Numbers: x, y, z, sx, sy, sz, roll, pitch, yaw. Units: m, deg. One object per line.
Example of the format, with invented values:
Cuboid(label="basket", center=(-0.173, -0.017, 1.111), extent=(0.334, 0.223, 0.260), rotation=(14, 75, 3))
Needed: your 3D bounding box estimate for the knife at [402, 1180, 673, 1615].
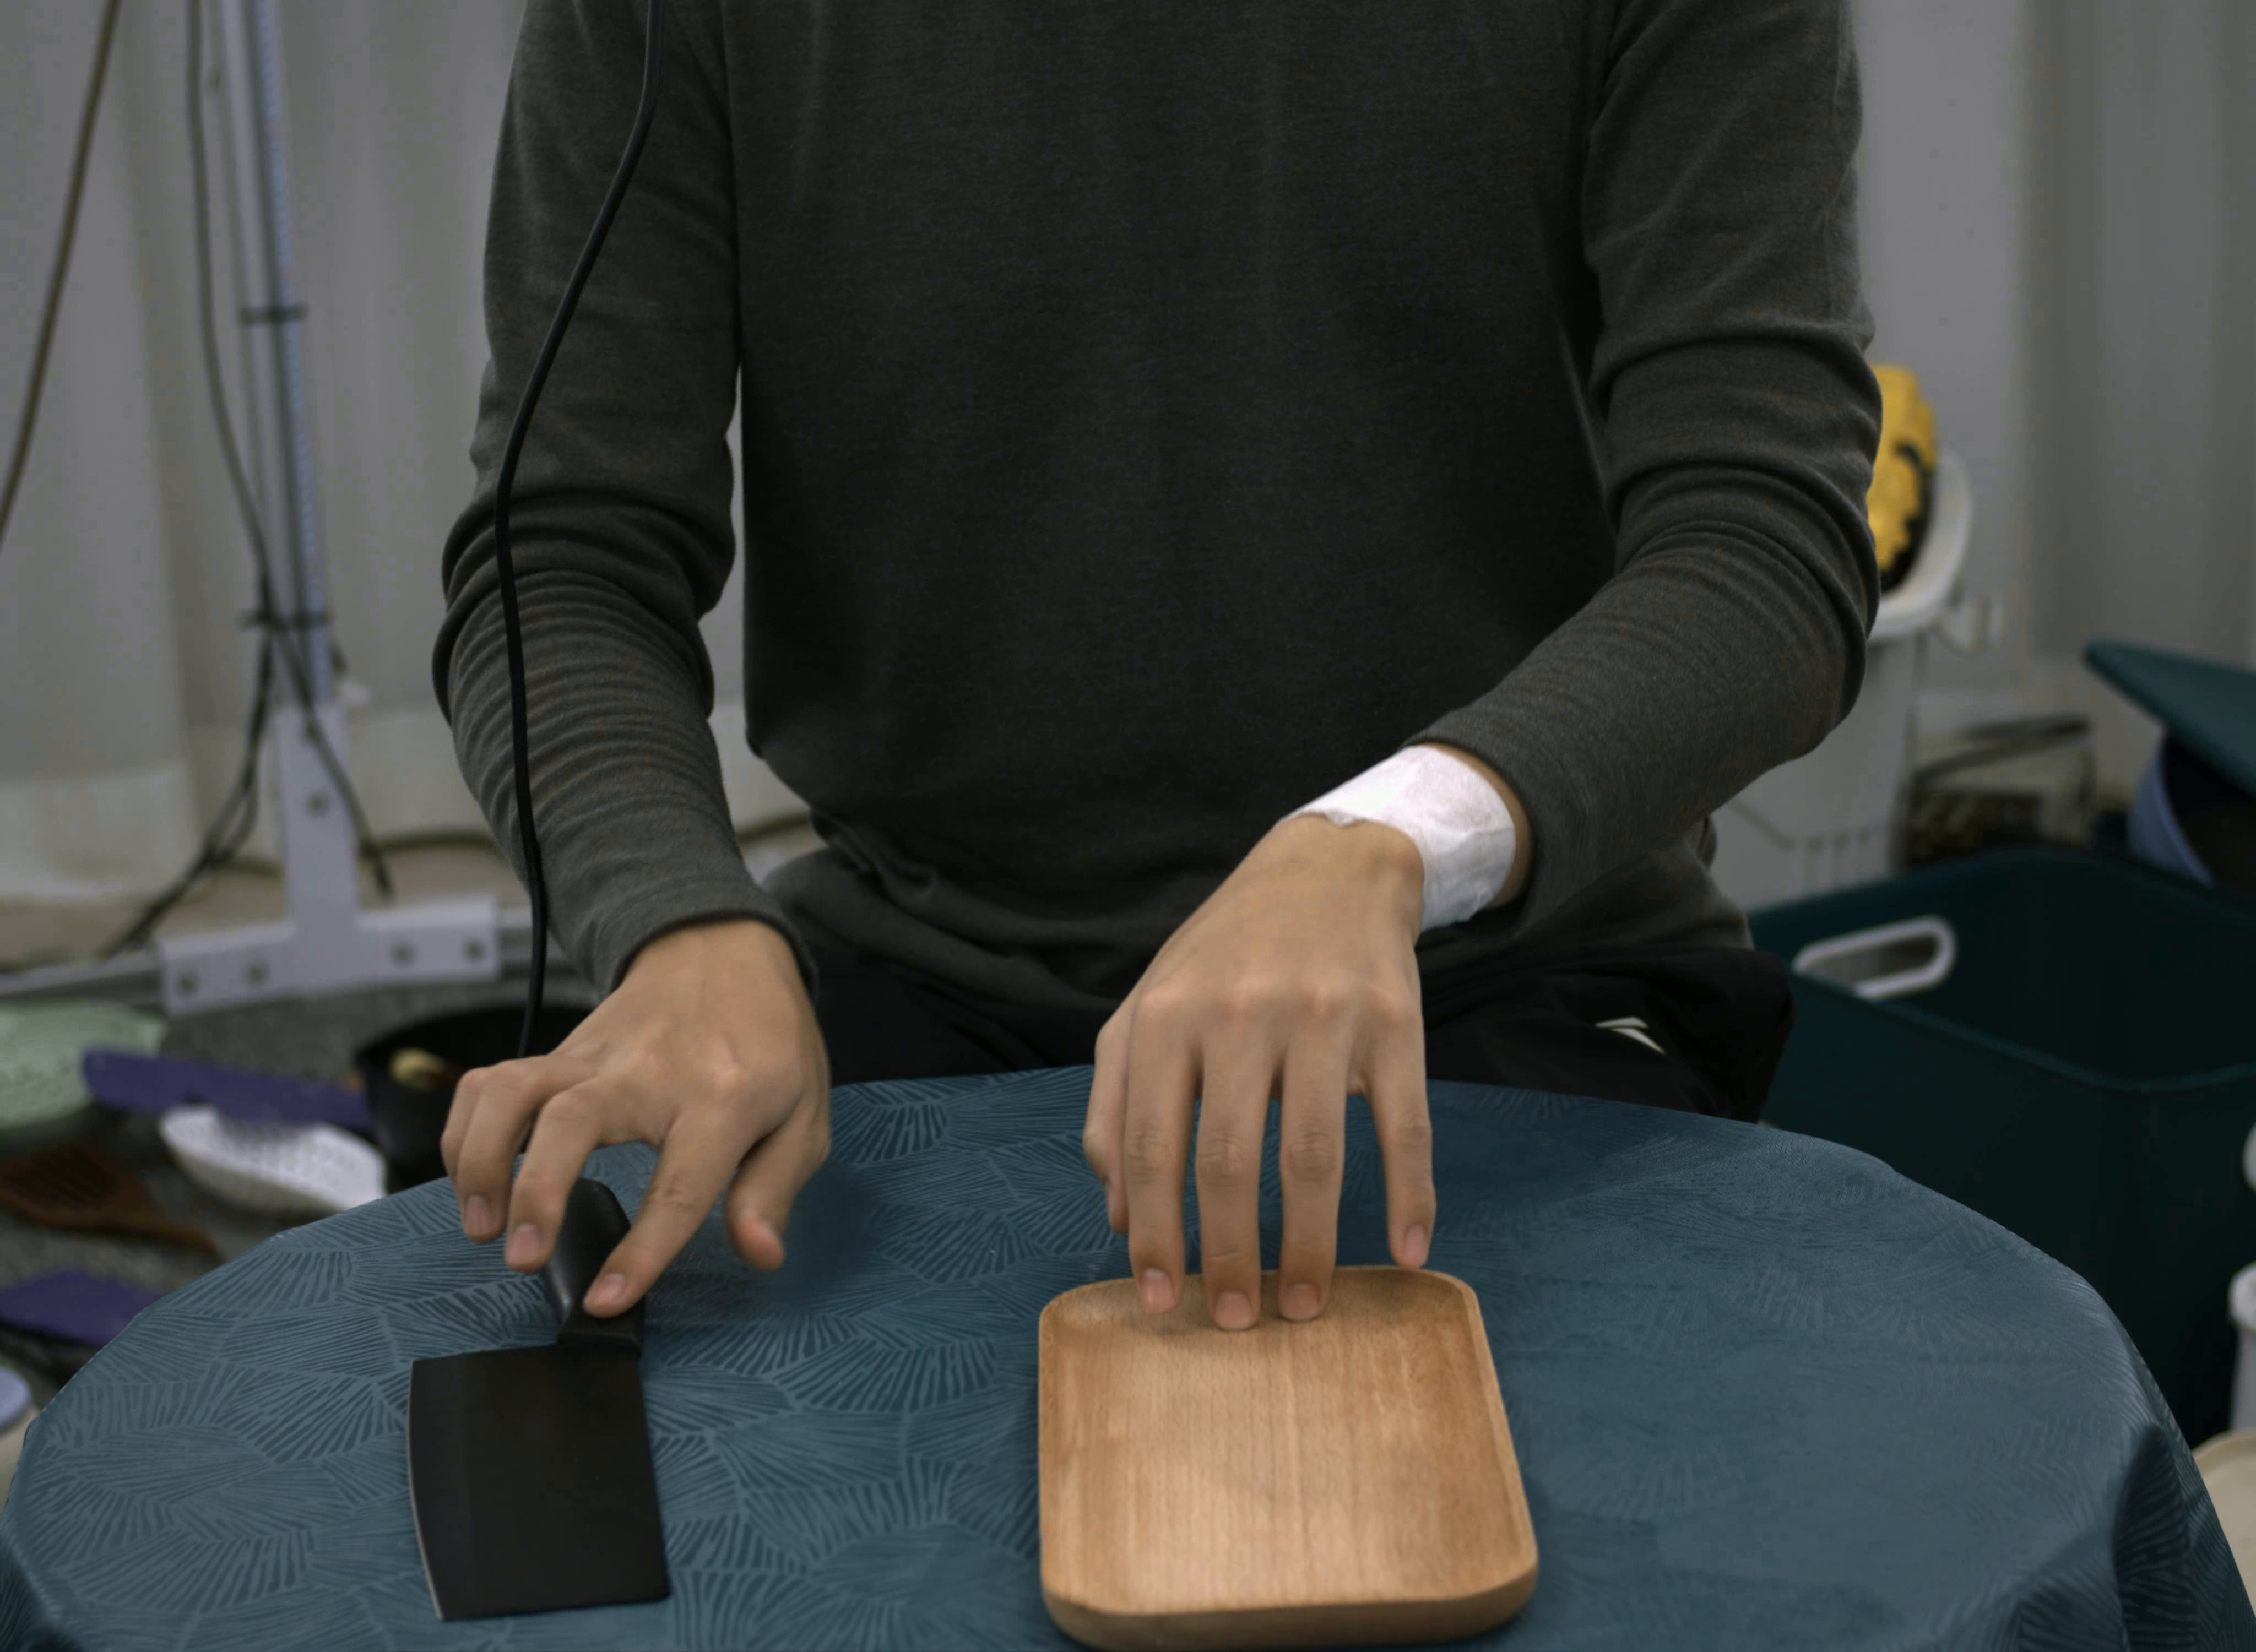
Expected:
Cuboid(label="knife", center=(-0.166, 0.160, 1.552), extent=(0.080, 0.021, 0.305), rotation=(-3, 16, -3))

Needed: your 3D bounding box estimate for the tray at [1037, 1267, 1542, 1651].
Cuboid(label="tray", center=(0.040, 0.168, 1.477), extent=(0.130, 0.023, 0.252), rotation=(0, 14, 0))
